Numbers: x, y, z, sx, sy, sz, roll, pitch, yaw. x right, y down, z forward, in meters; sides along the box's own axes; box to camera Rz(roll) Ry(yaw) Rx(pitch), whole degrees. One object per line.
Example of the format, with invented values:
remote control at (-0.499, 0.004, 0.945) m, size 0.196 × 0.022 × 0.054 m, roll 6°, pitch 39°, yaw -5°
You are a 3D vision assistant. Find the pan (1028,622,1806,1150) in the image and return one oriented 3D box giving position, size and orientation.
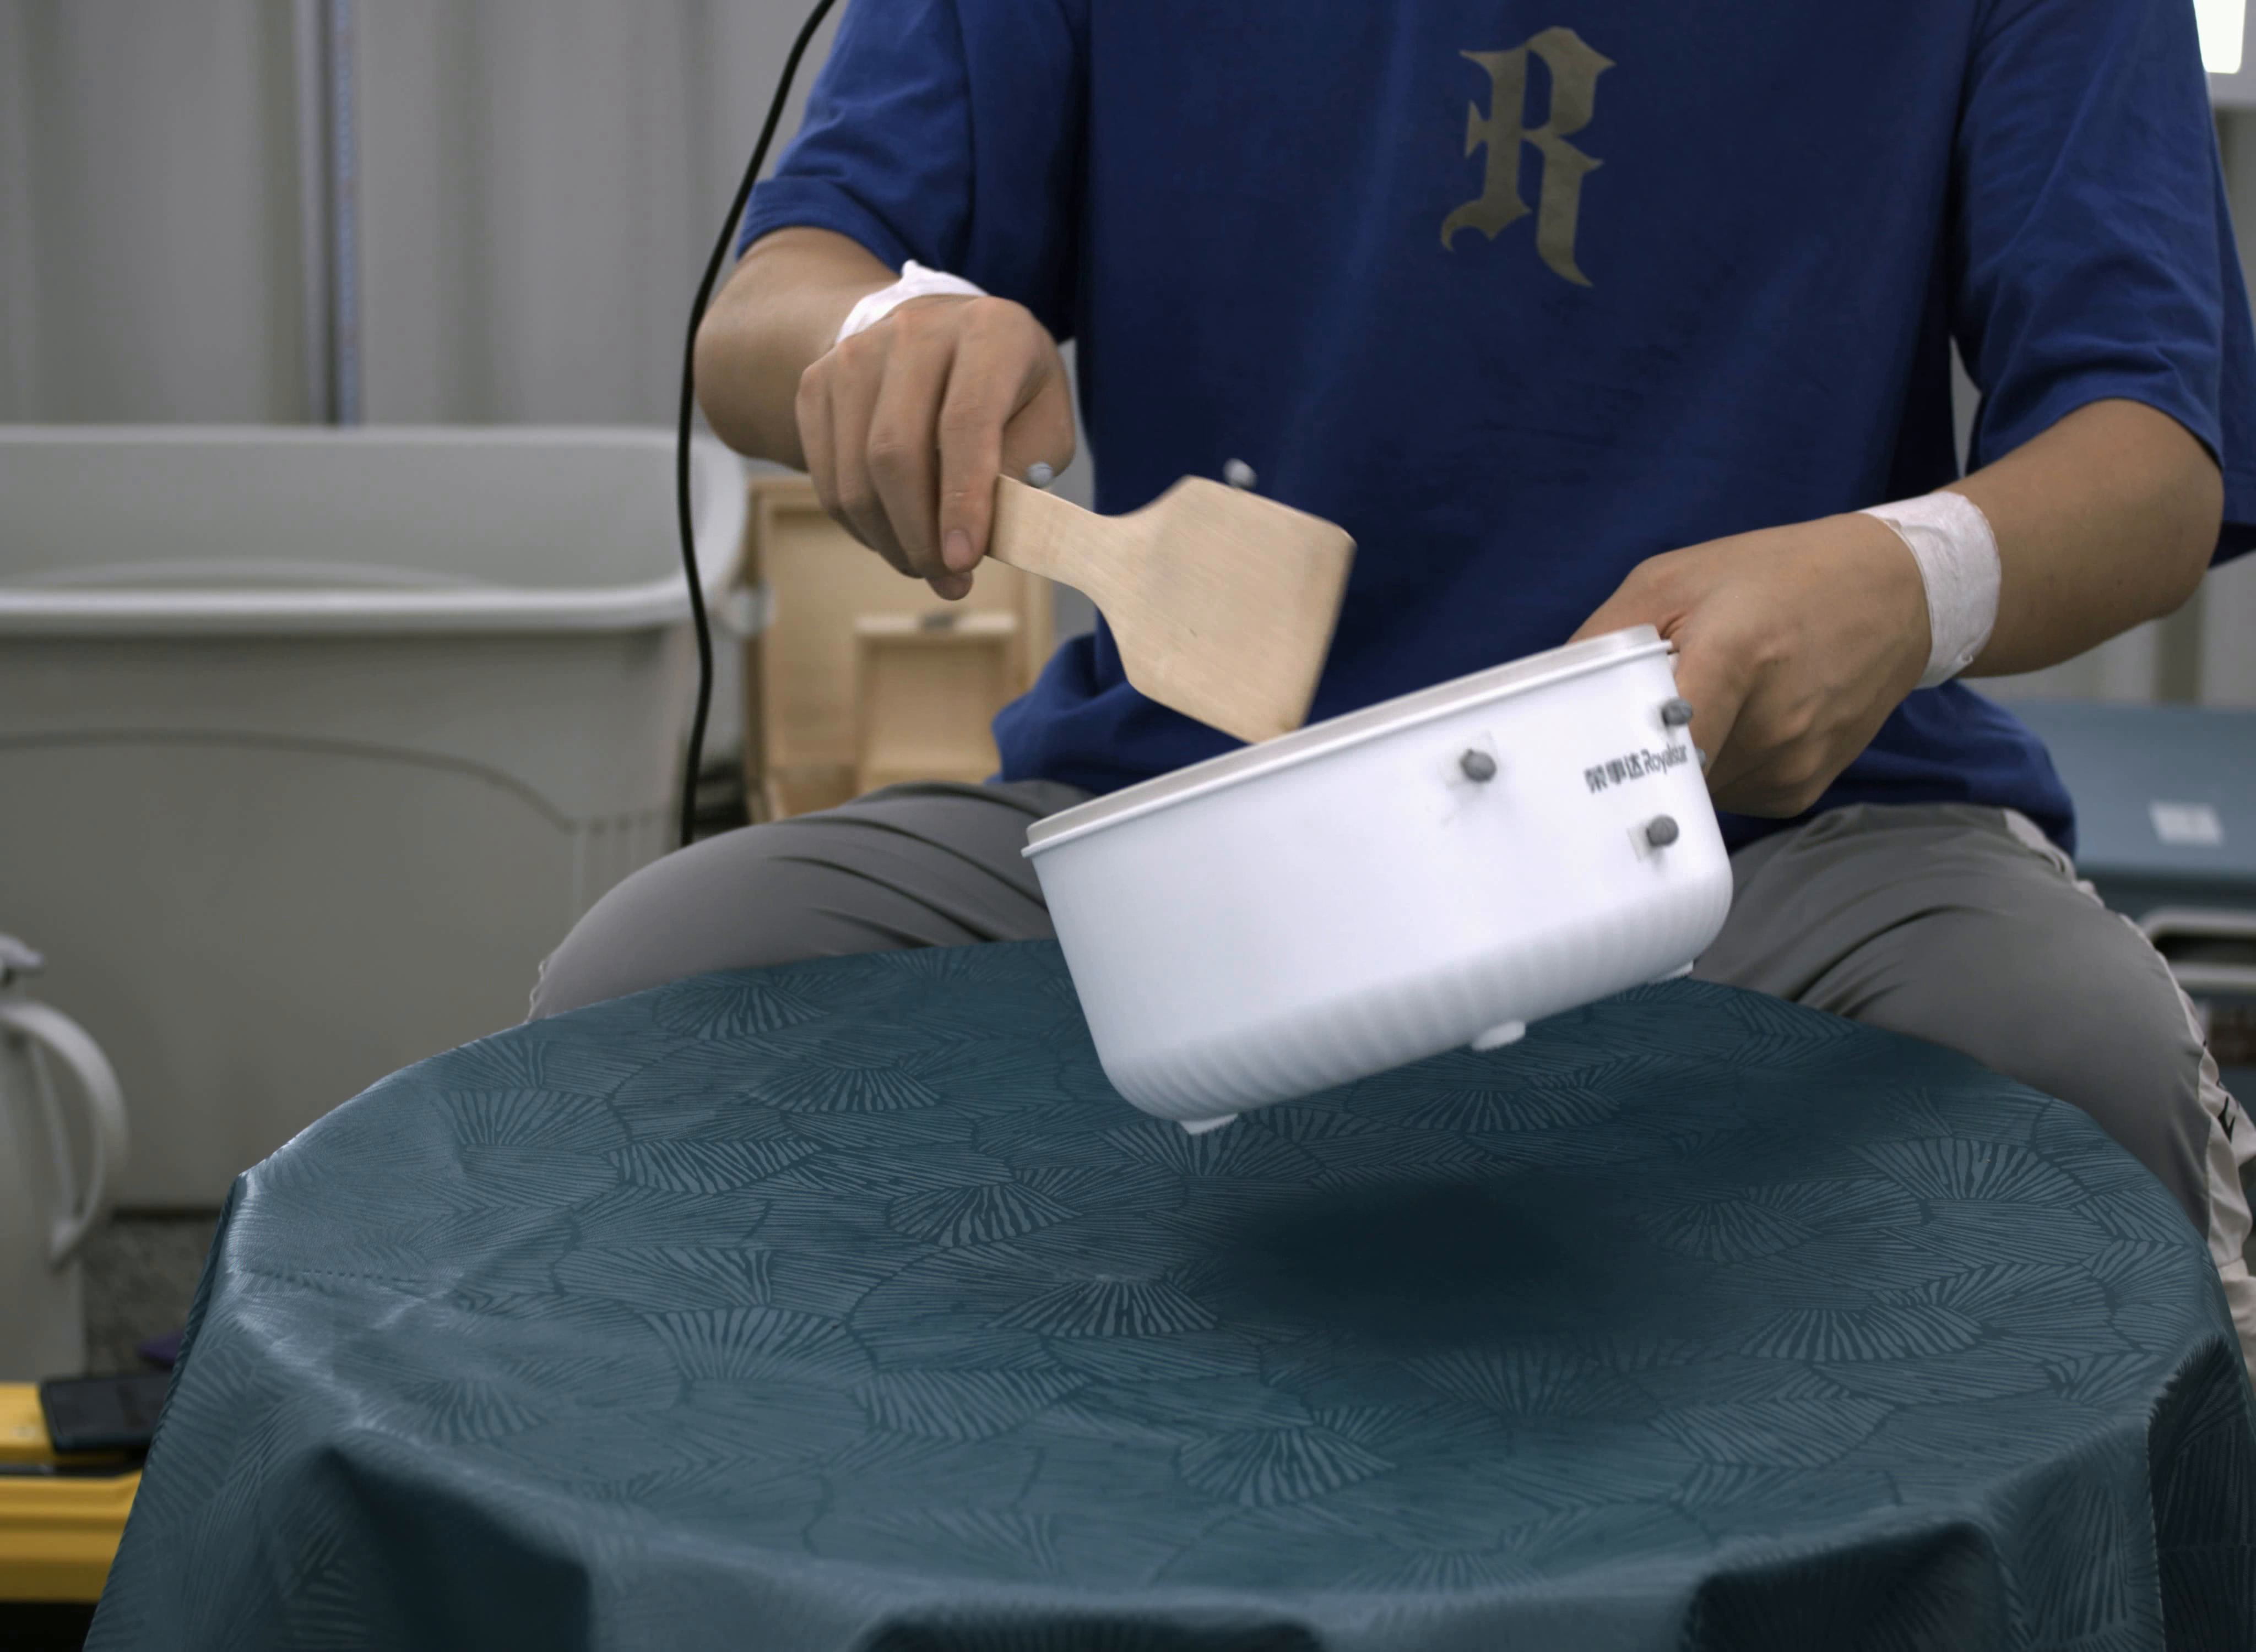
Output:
pan at (0.121, 0.009, 1.608) m, size 0.200 × 0.102 × 0.356 m, roll -21°, pitch -2°, yaw 34°

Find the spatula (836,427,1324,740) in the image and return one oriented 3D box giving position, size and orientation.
spatula at (-0.024, -0.091, 1.658) m, size 0.011 × 0.072 × 0.289 m, roll 9°, pitch 9°, yaw -33°
